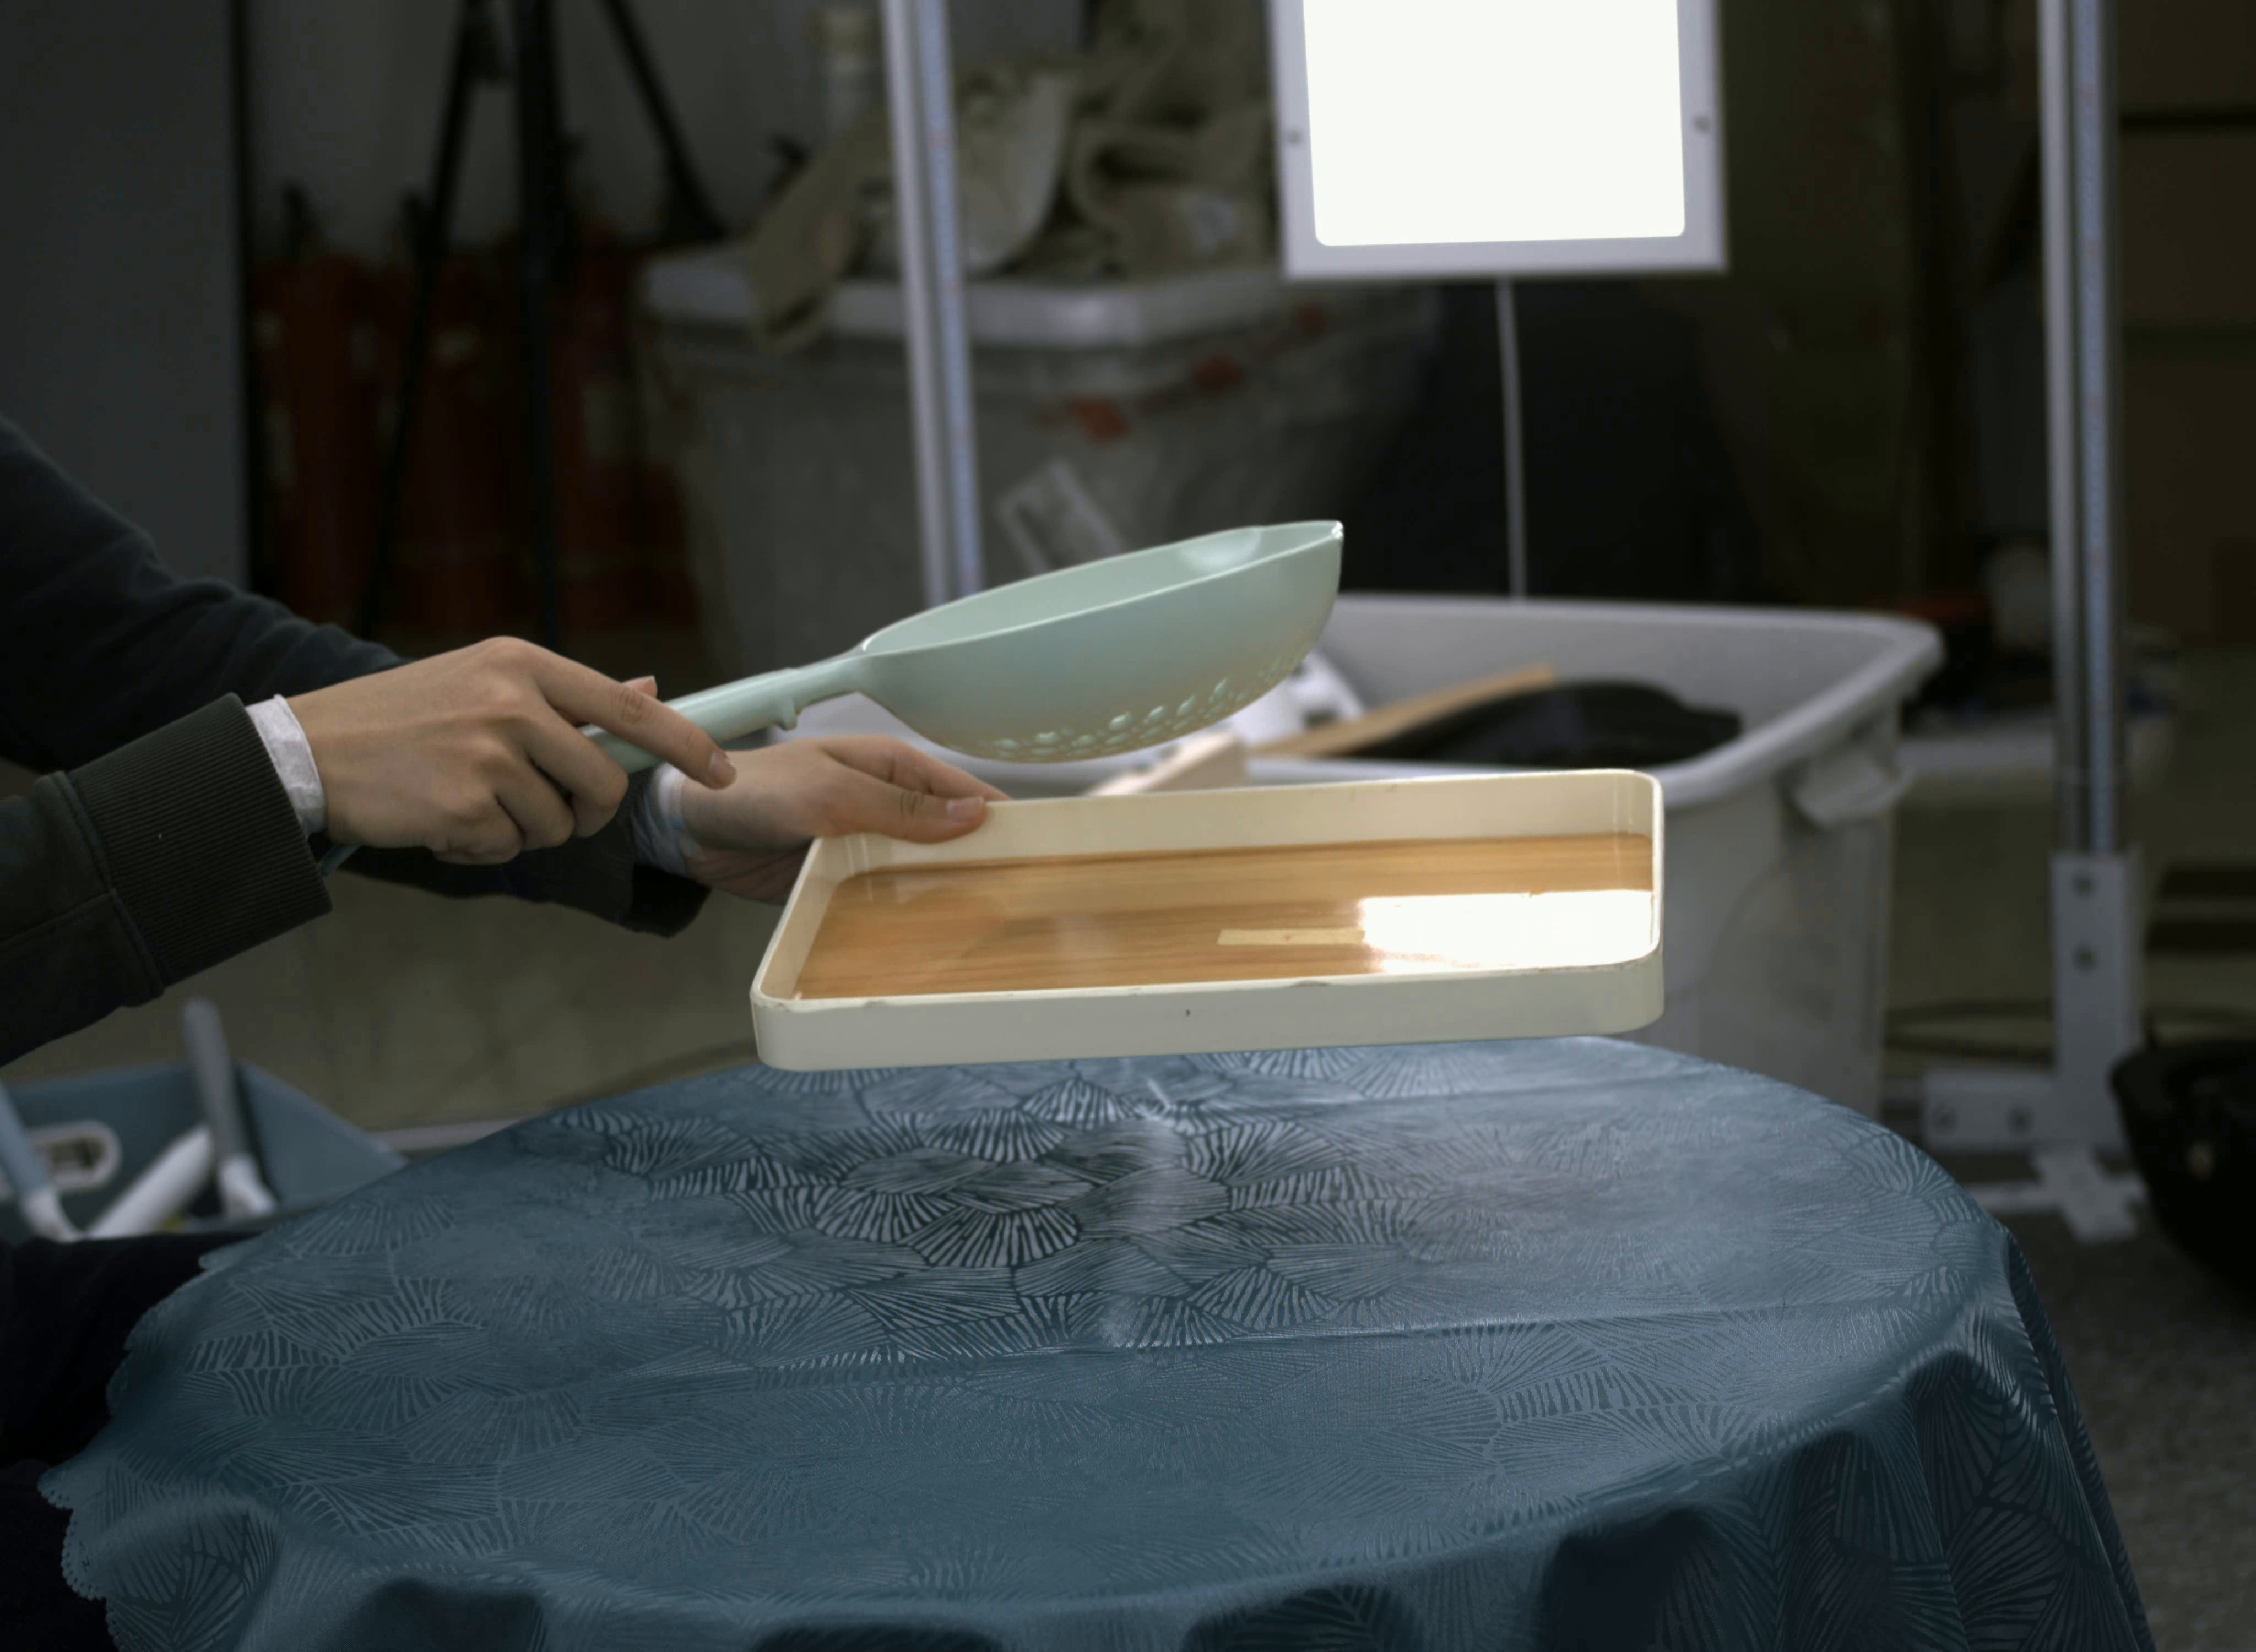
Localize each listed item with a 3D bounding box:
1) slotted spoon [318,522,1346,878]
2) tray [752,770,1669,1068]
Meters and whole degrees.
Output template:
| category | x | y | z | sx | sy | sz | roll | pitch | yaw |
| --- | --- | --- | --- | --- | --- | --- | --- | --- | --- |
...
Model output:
| category | x | y | z | sx | sy | sz | roll | pitch | yaw |
| --- | --- | --- | --- | --- | --- | --- | --- | --- | --- |
| slotted spoon | -0.097 | -0.043 | 1.848 | 0.355 | 0.075 | 0.171 | -8 | 5 | -11 |
| tray | 0.033 | 0.030 | 1.857 | 0.302 | 0.027 | 0.190 | -3 | 20 | 9 |
